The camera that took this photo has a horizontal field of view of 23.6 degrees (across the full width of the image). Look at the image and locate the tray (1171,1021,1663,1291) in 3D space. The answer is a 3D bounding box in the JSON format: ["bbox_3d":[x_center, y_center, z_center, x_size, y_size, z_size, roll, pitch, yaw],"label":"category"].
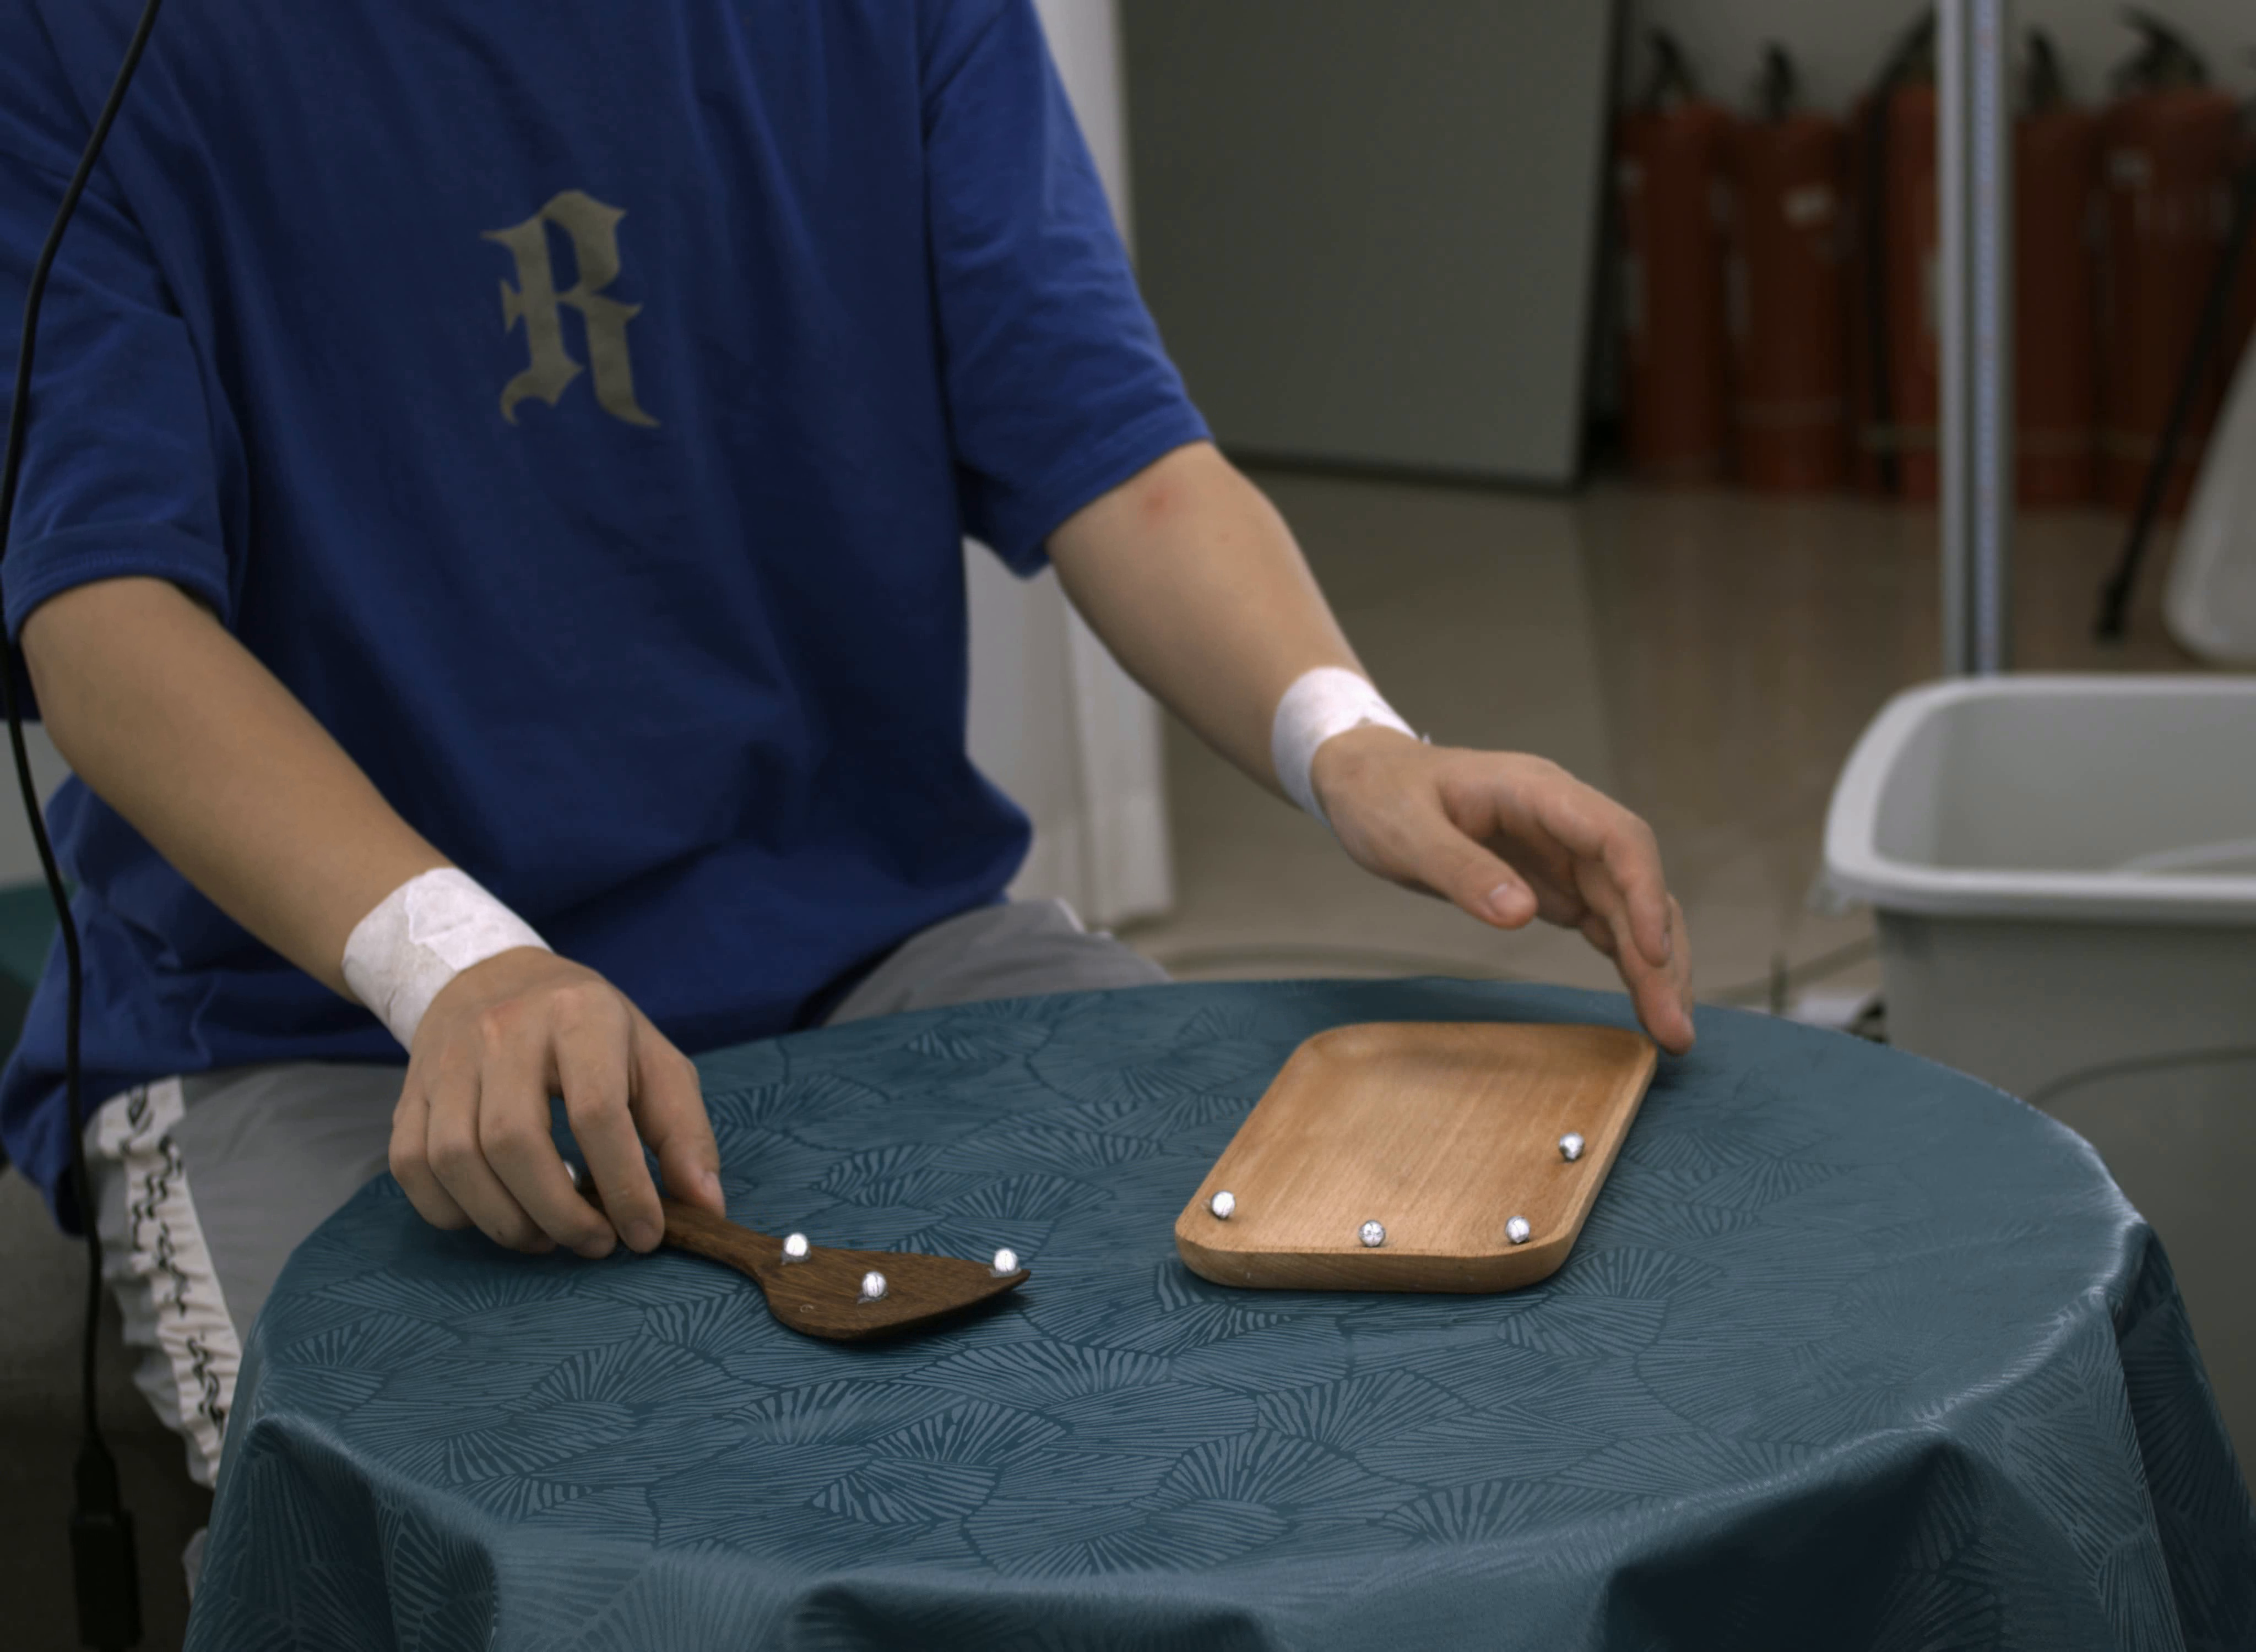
[{"bbox_3d":[0.099,0.106,1.768,0.130,0.023,0.249,2,14,15],"label":"tray"}]

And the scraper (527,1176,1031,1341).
[{"bbox_3d":[-0.121,0.136,1.723,0.074,0.011,0.213,-14,17,-40],"label":"scraper"}]
